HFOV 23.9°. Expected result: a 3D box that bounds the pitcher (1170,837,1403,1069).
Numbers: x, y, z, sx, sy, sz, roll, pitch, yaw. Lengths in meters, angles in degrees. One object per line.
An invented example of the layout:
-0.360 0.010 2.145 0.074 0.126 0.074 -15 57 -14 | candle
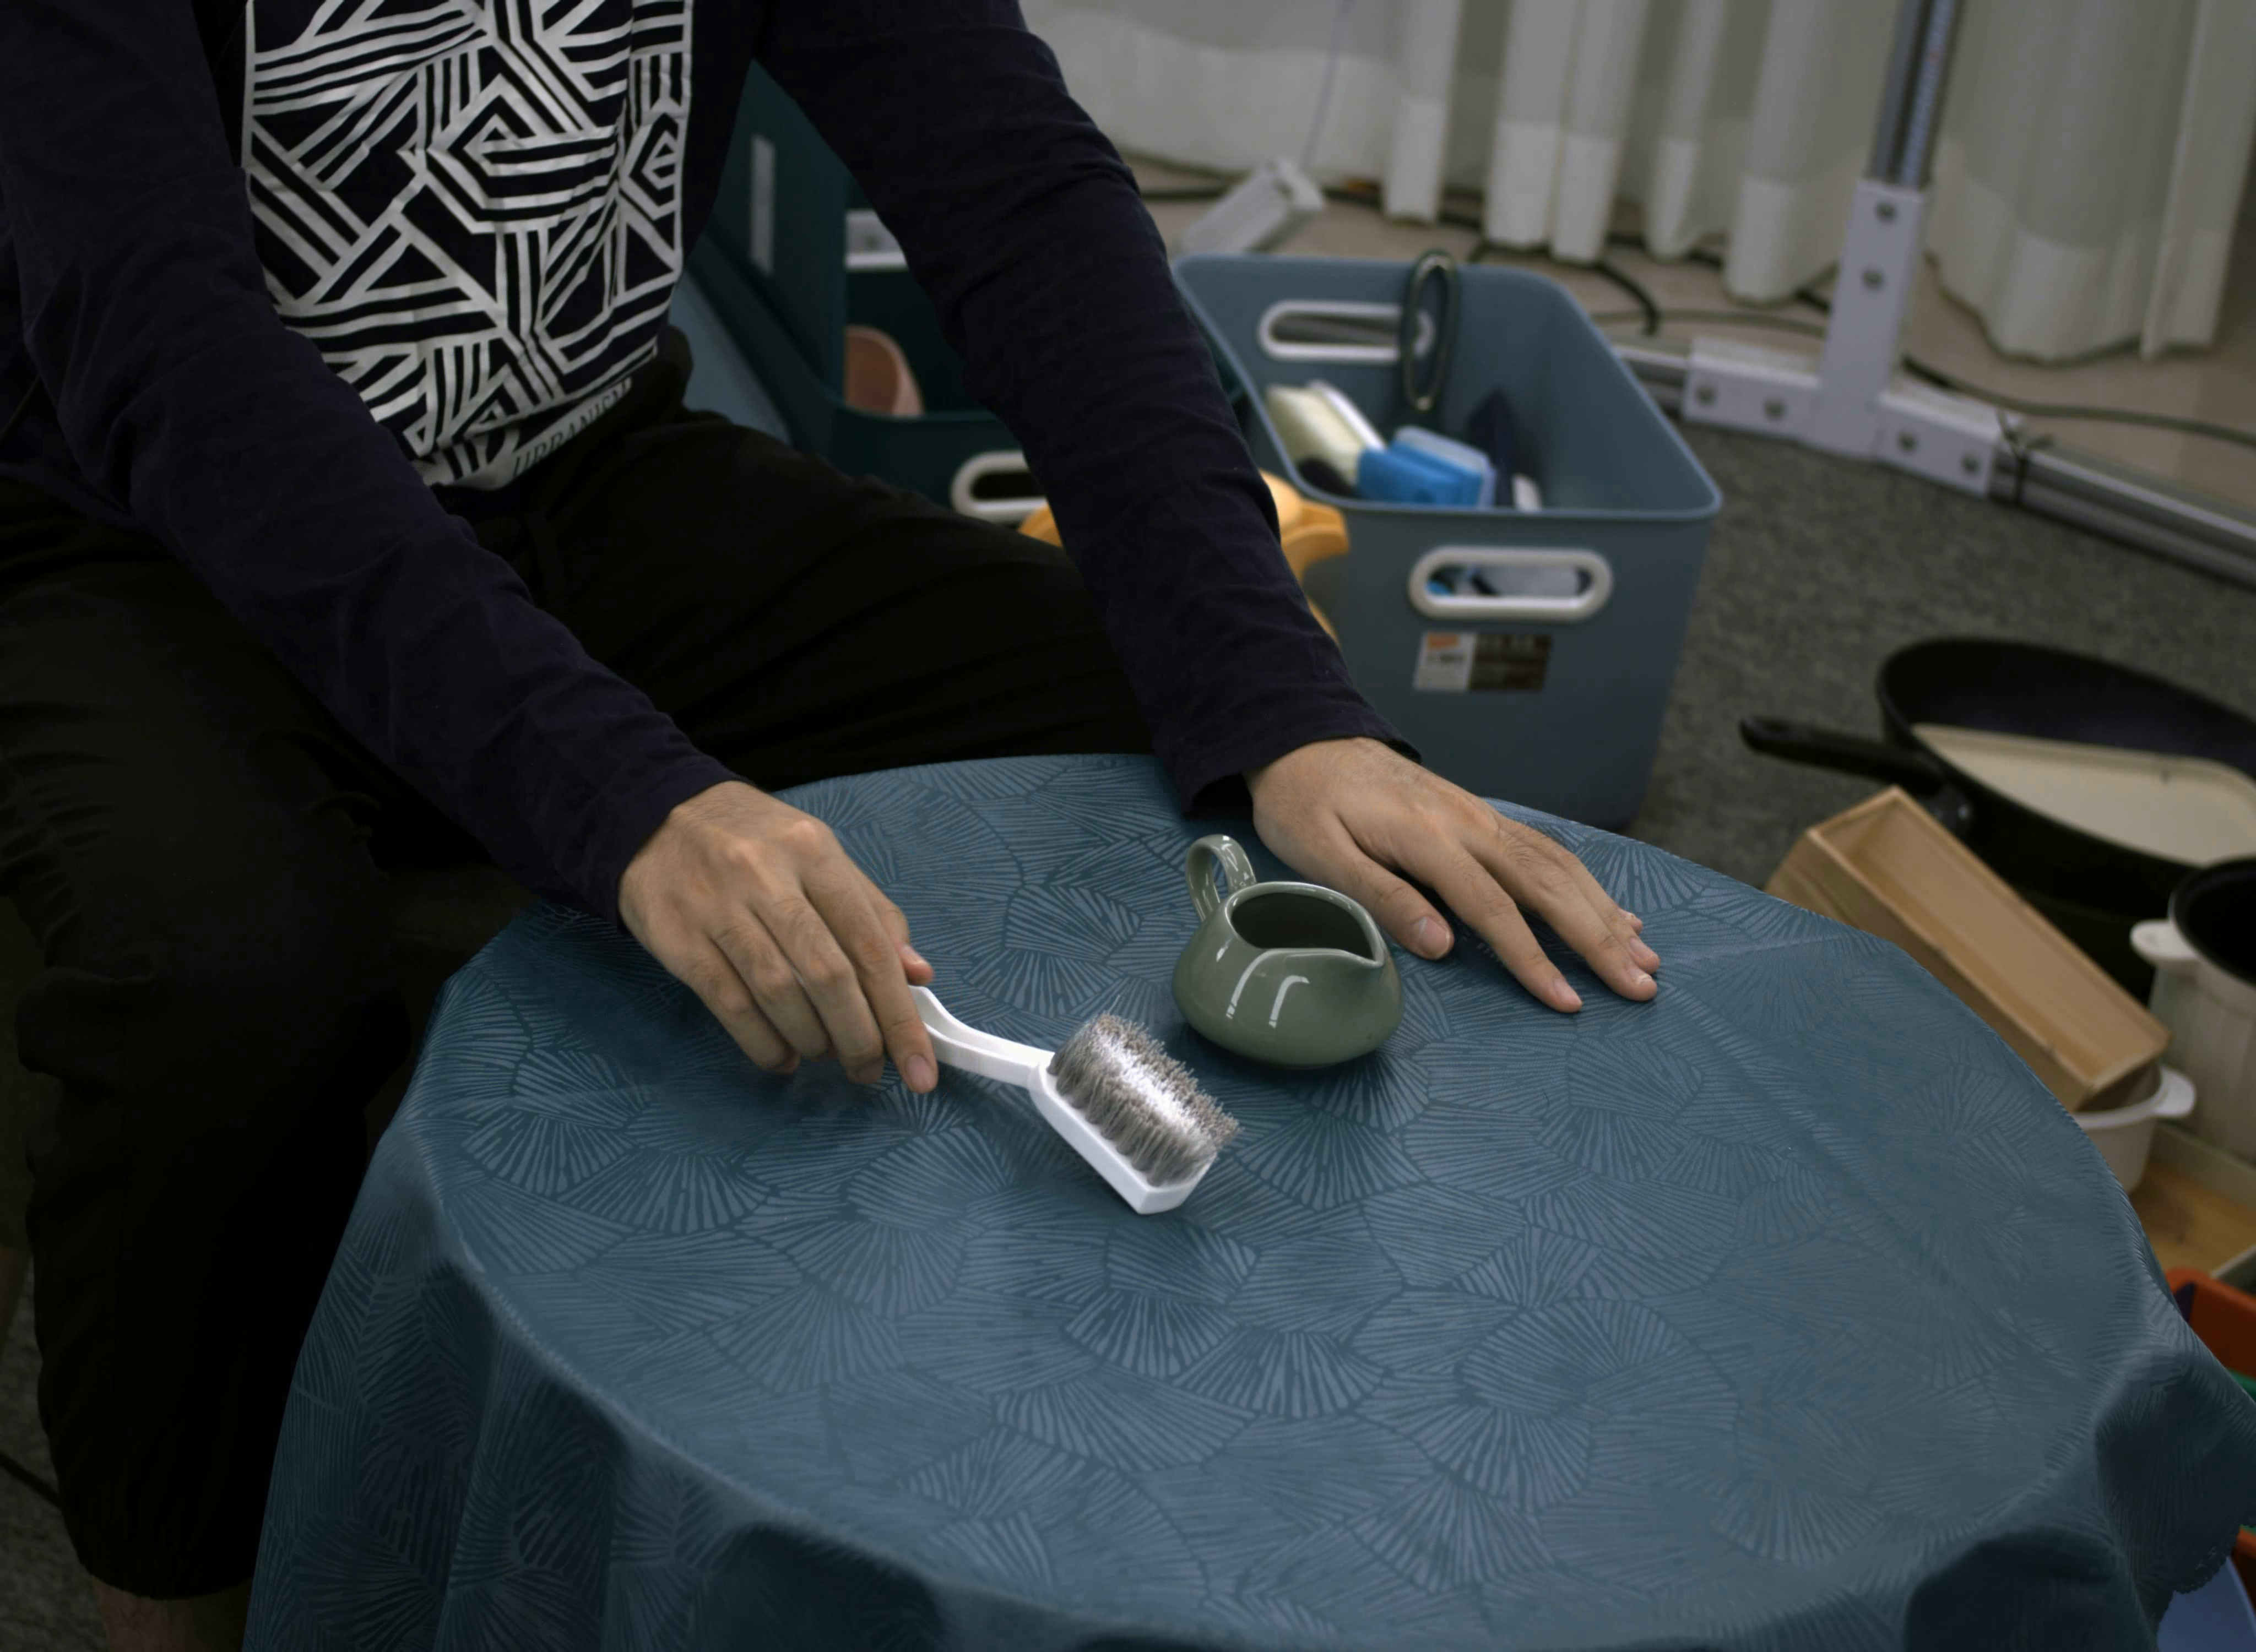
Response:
0.054 0.047 1.907 0.084 0.056 0.113 -13 31 -37 | pitcher

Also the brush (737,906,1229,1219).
-0.056 0.065 1.857 0.034 0.050 0.245 -23 39 -35 | brush
